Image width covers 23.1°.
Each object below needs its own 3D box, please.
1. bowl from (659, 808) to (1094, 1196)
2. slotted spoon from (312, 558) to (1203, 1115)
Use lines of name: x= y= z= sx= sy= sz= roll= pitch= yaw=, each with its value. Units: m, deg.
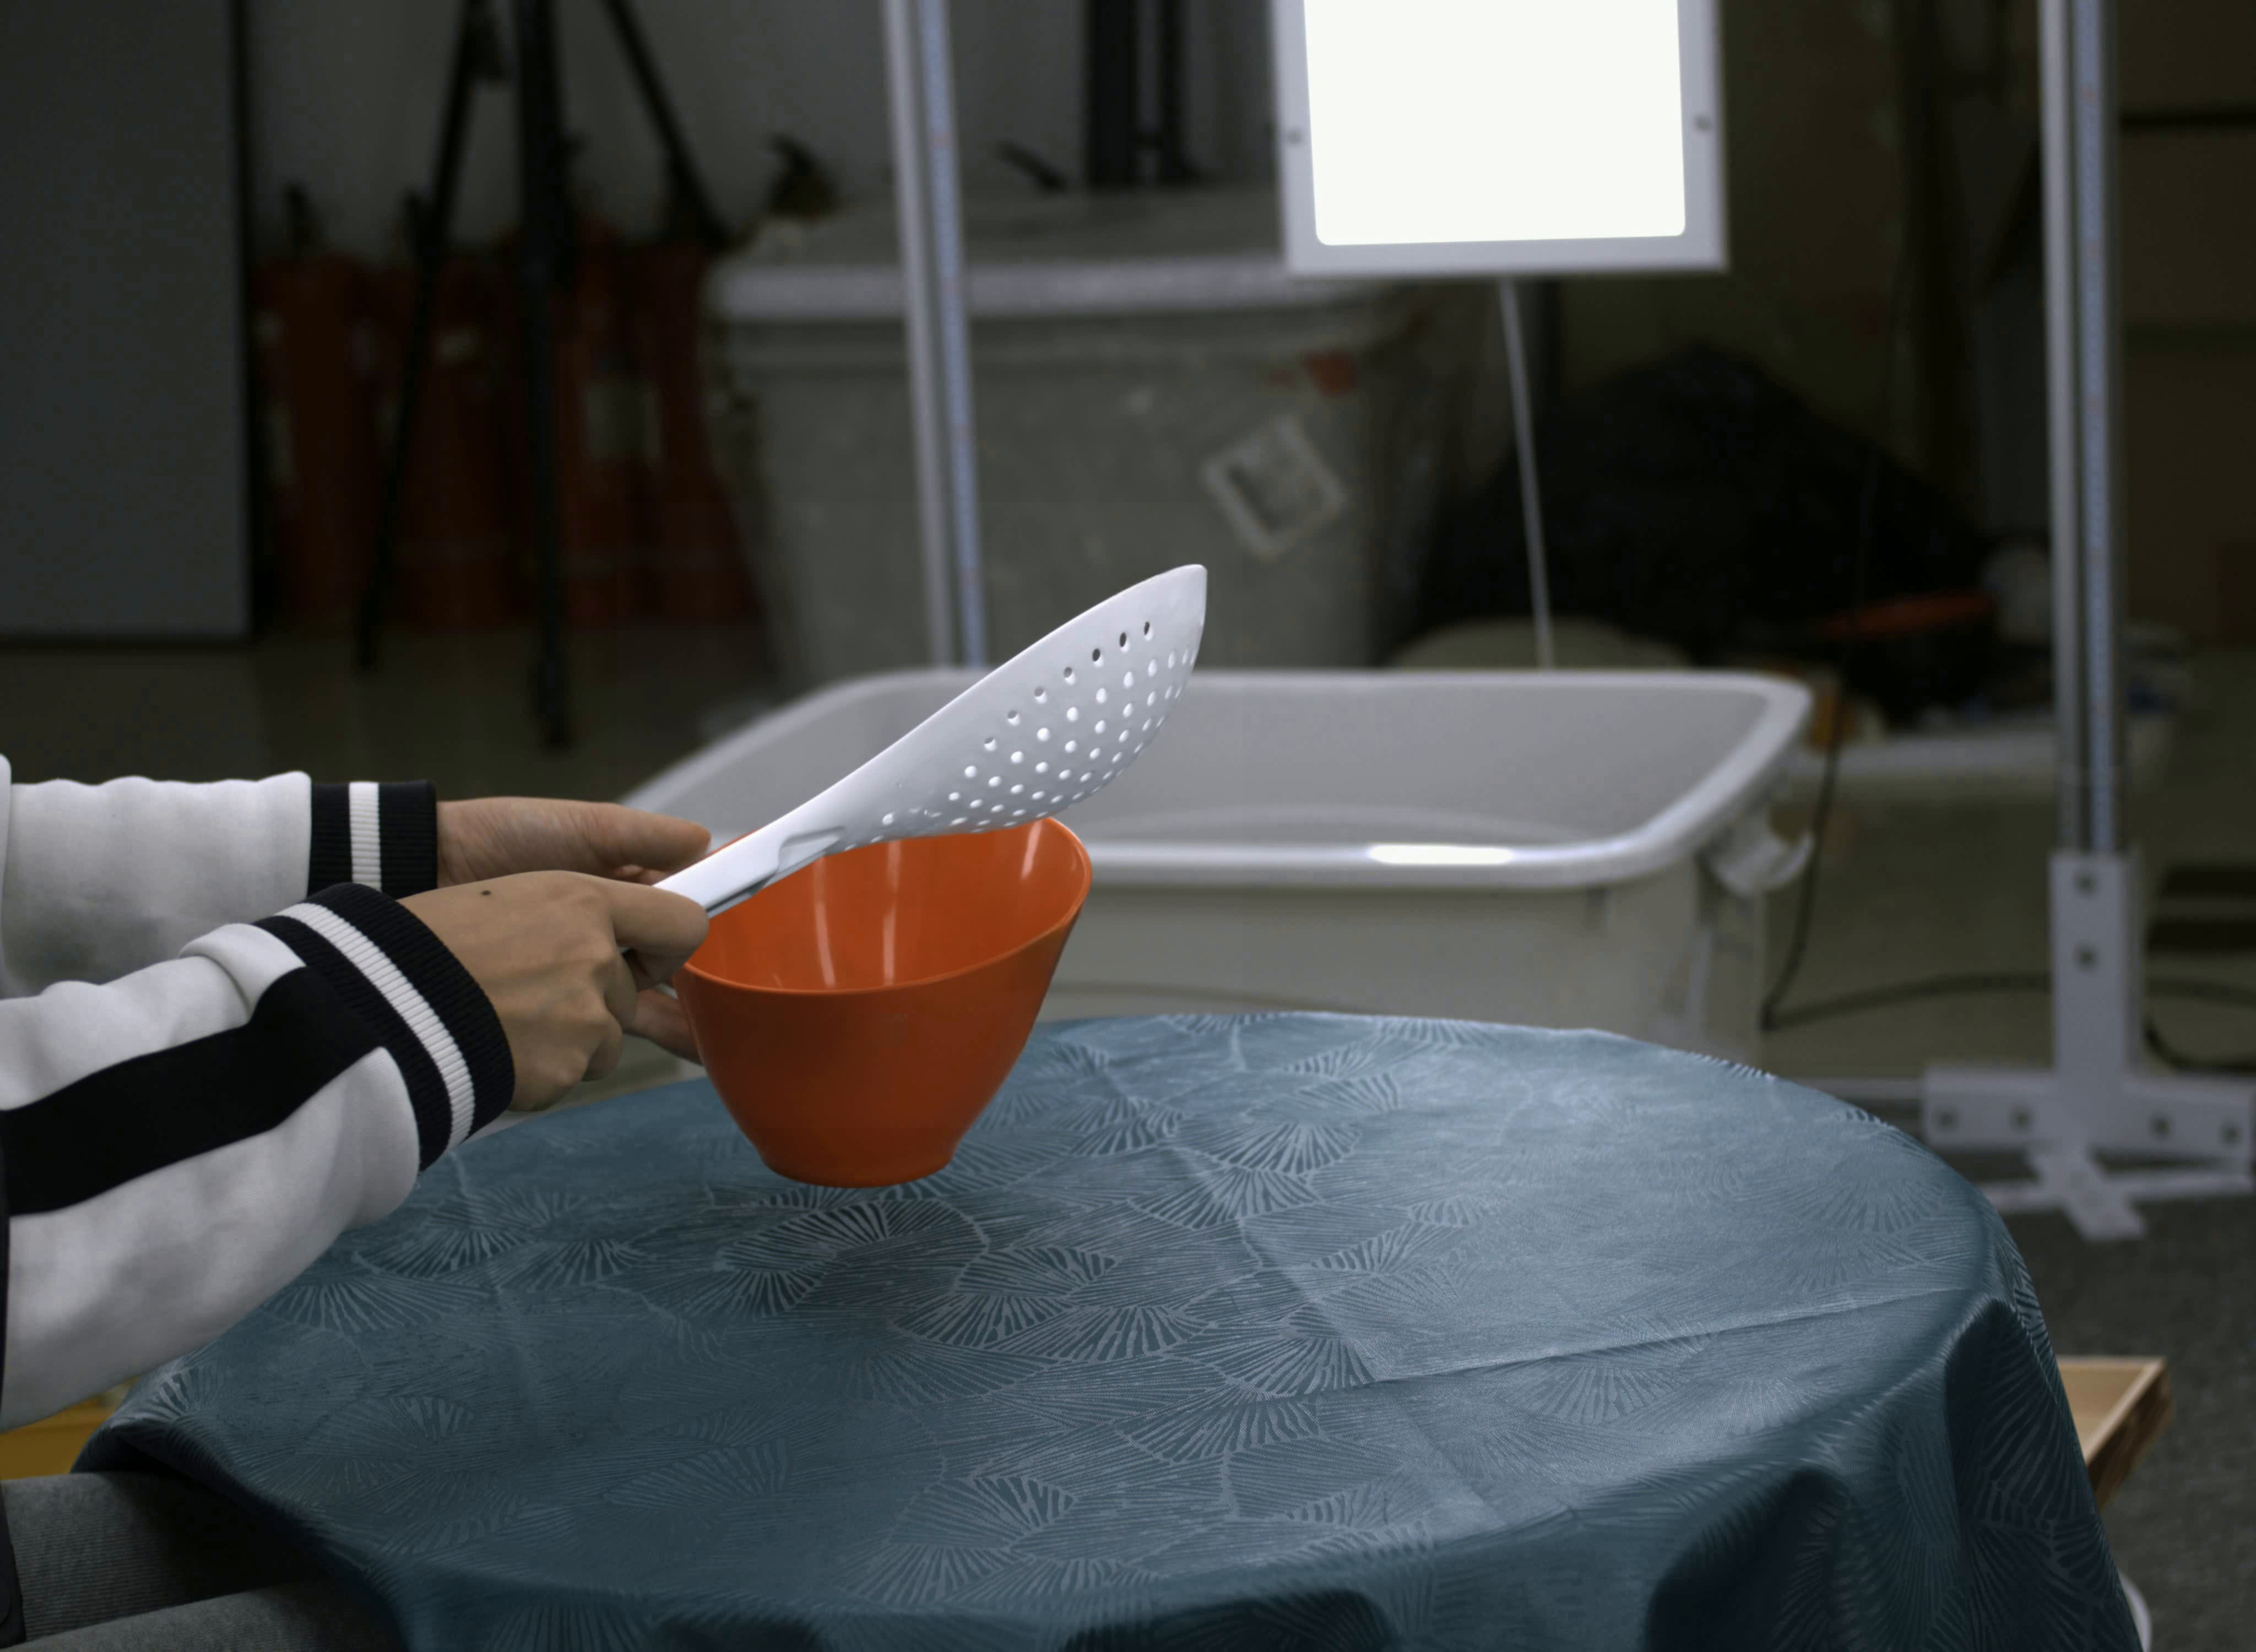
bowl: x=-0.085 y=0.063 z=1.875 sx=0.147 sy=0.105 sz=0.148 roll=-1 pitch=20 yaw=-1
slotted spoon: x=-0.107 y=0.005 z=1.711 sx=0.342 sy=0.046 sz=0.138 roll=-24 pitch=-12 yaw=-30
